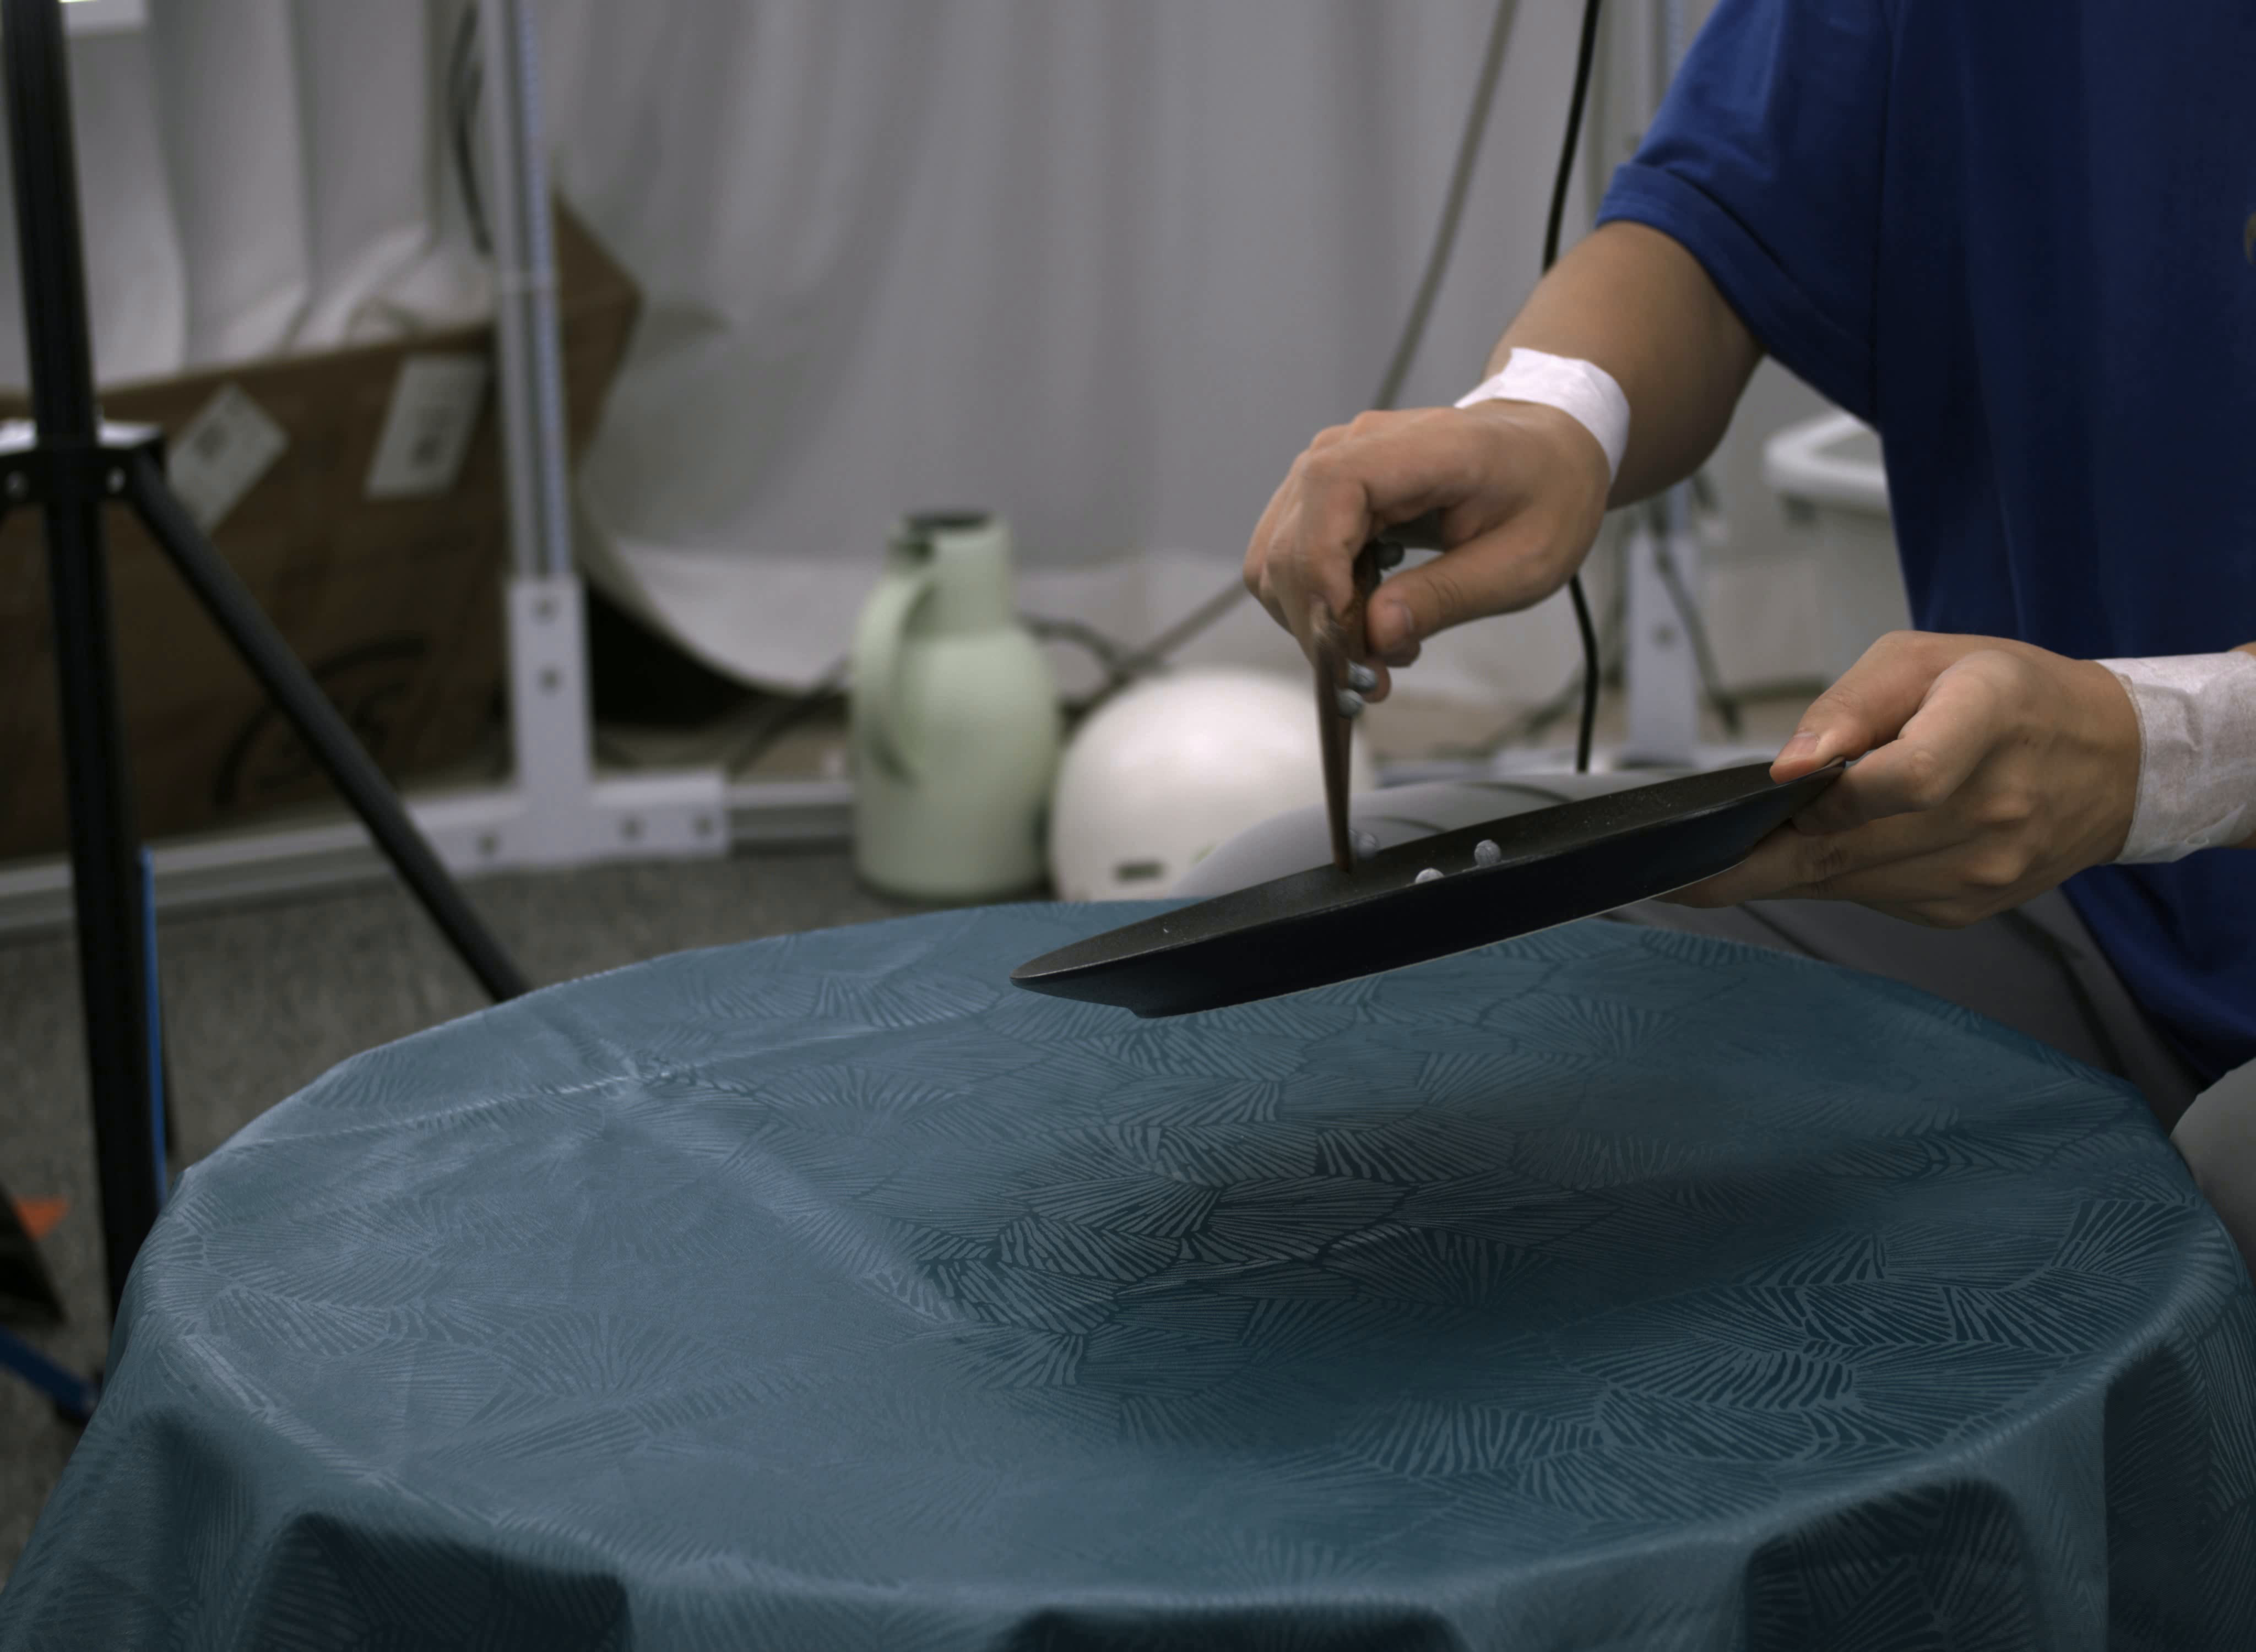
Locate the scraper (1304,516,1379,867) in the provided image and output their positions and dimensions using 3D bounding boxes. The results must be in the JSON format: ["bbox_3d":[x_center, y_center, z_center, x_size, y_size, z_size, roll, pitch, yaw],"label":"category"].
[{"bbox_3d":[0.066,-0.053,1.599,0.011,0.075,0.211,-4,18,8],"label":"scraper"}]

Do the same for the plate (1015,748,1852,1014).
[{"bbox_3d":[0.087,0.019,1.496,0.243,0.023,0.244,-15,2,-1],"label":"plate"}]
